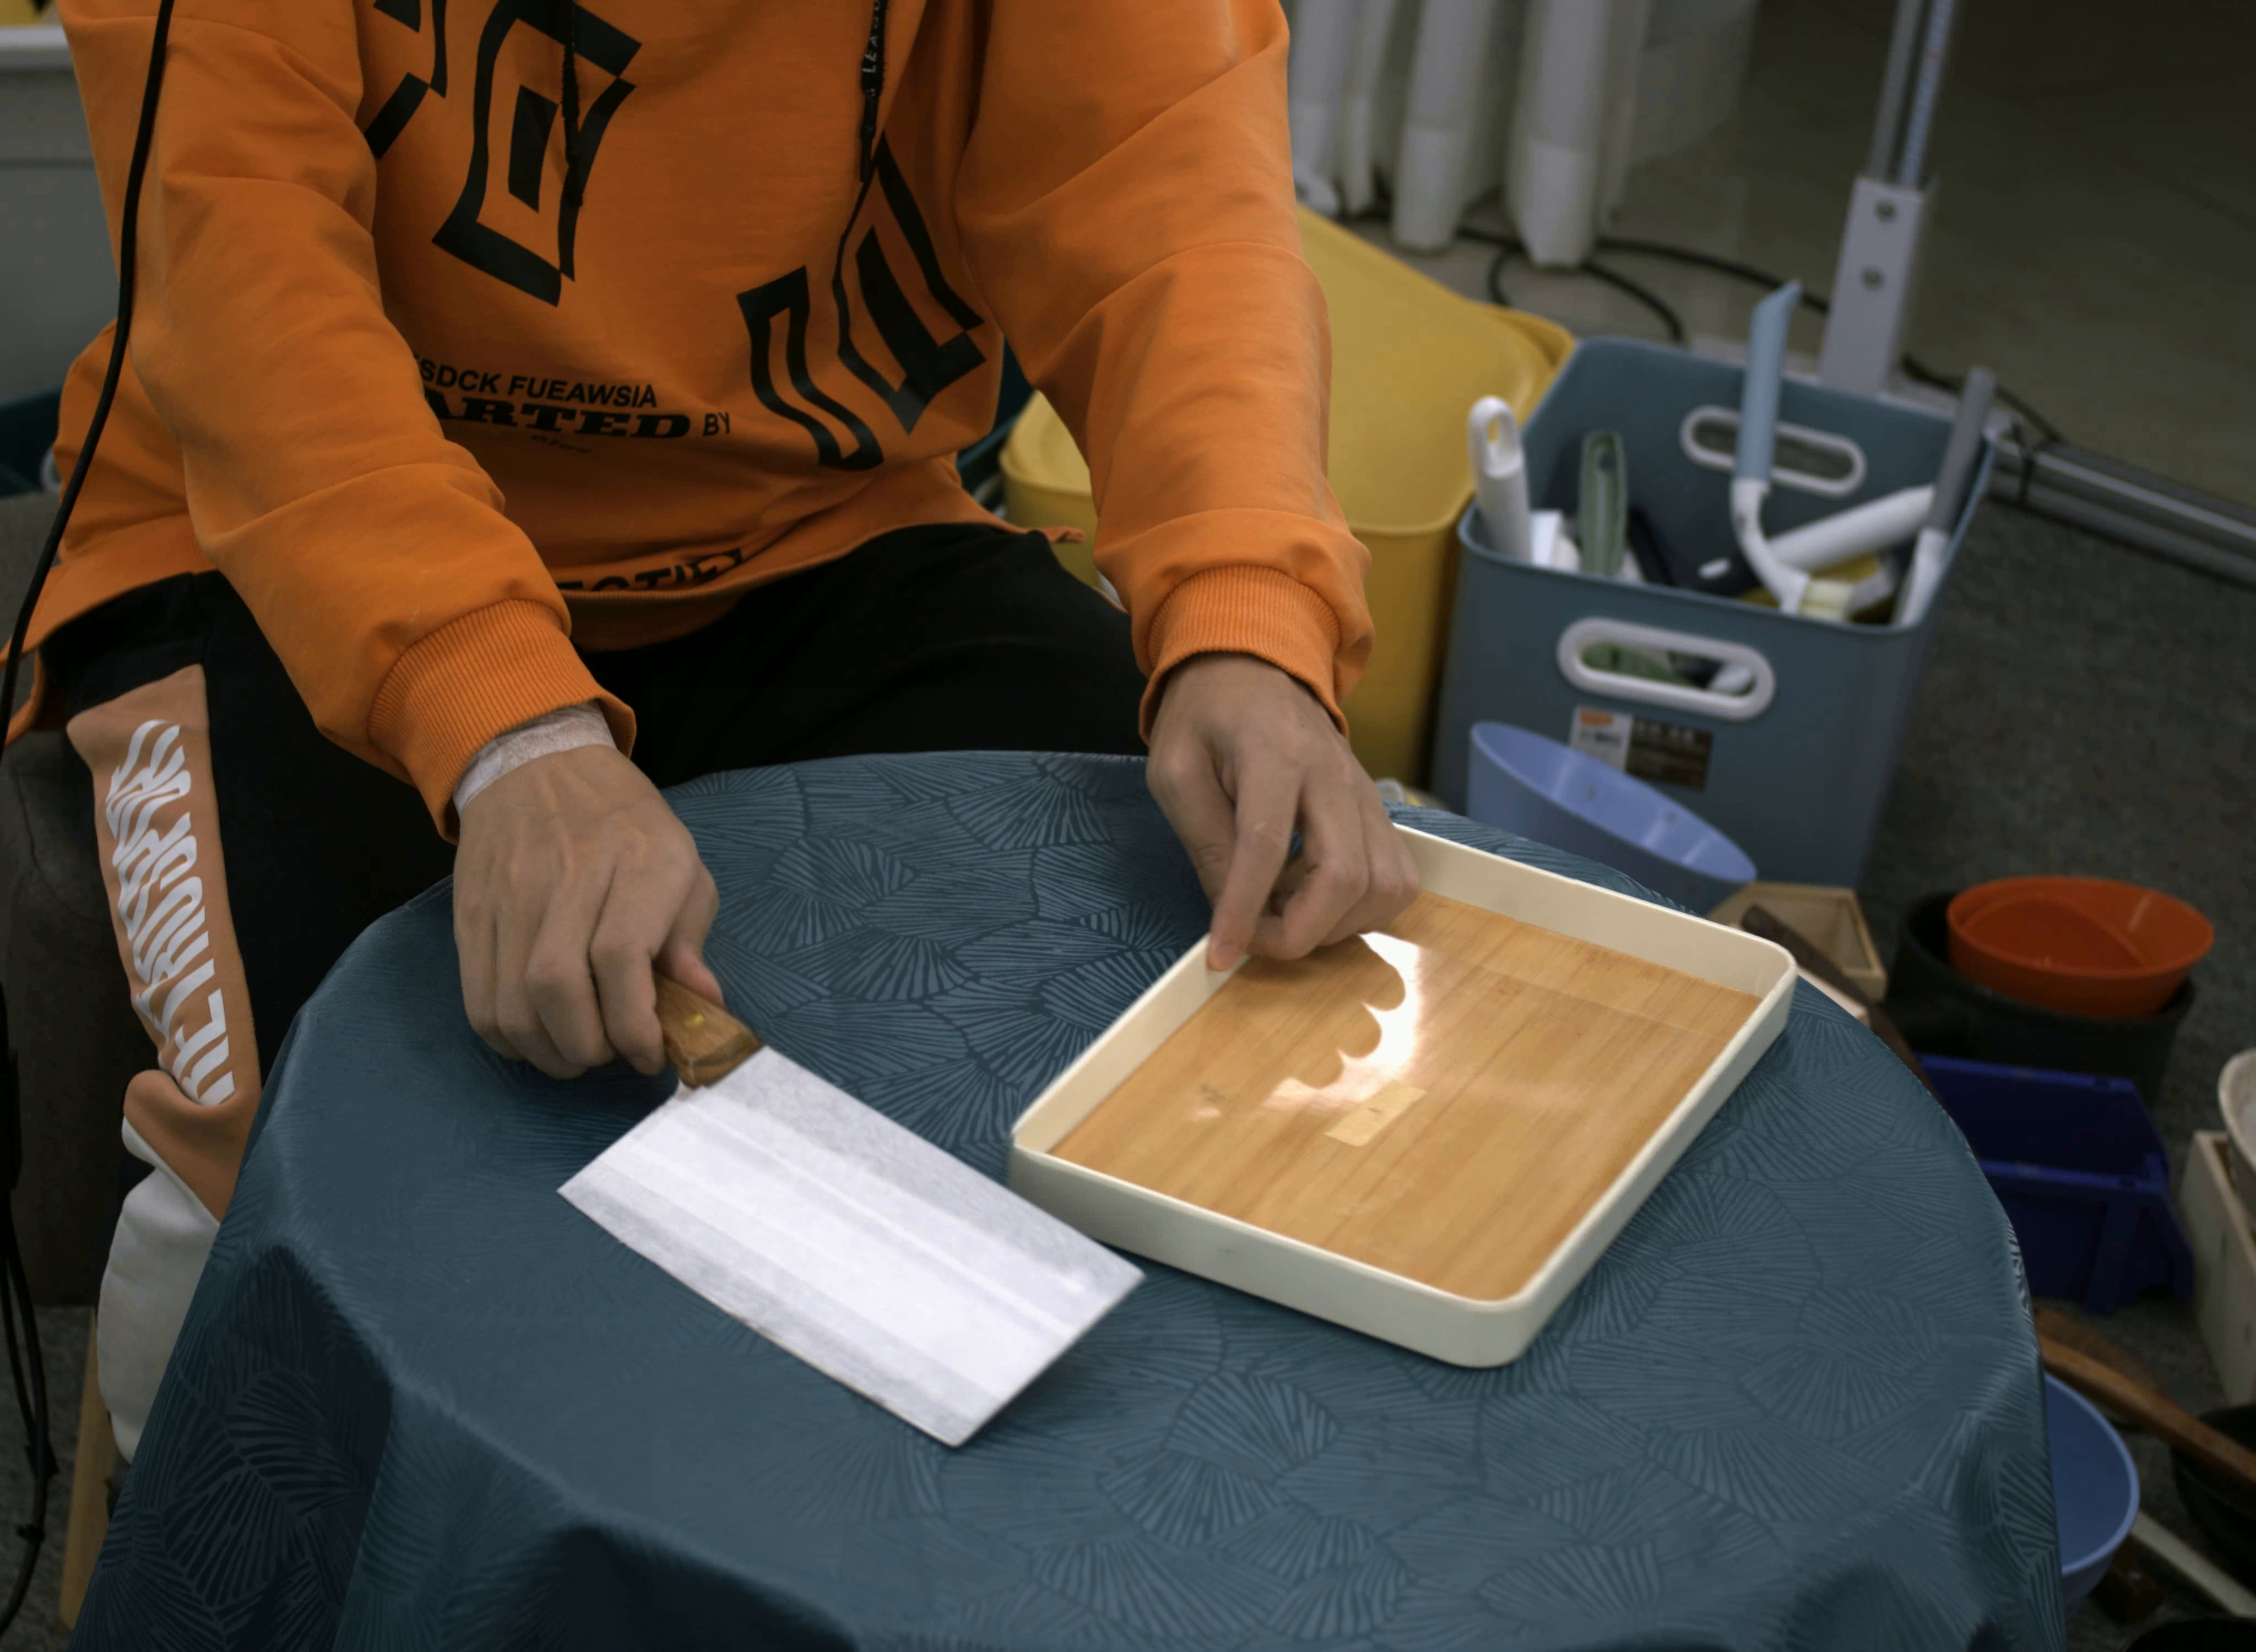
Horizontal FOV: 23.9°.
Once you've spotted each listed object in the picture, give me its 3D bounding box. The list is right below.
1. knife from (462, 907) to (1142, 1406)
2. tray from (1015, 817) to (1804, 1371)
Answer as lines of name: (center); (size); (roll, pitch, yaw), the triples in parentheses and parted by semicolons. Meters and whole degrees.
knife: (-0.131, 0.111, 1.762); (0.308, 0.021, 0.093); (28, 54, 36)
tray: (0.104, 0.088, 1.866); (0.192, 0.027, 0.300); (17, 29, 20)
